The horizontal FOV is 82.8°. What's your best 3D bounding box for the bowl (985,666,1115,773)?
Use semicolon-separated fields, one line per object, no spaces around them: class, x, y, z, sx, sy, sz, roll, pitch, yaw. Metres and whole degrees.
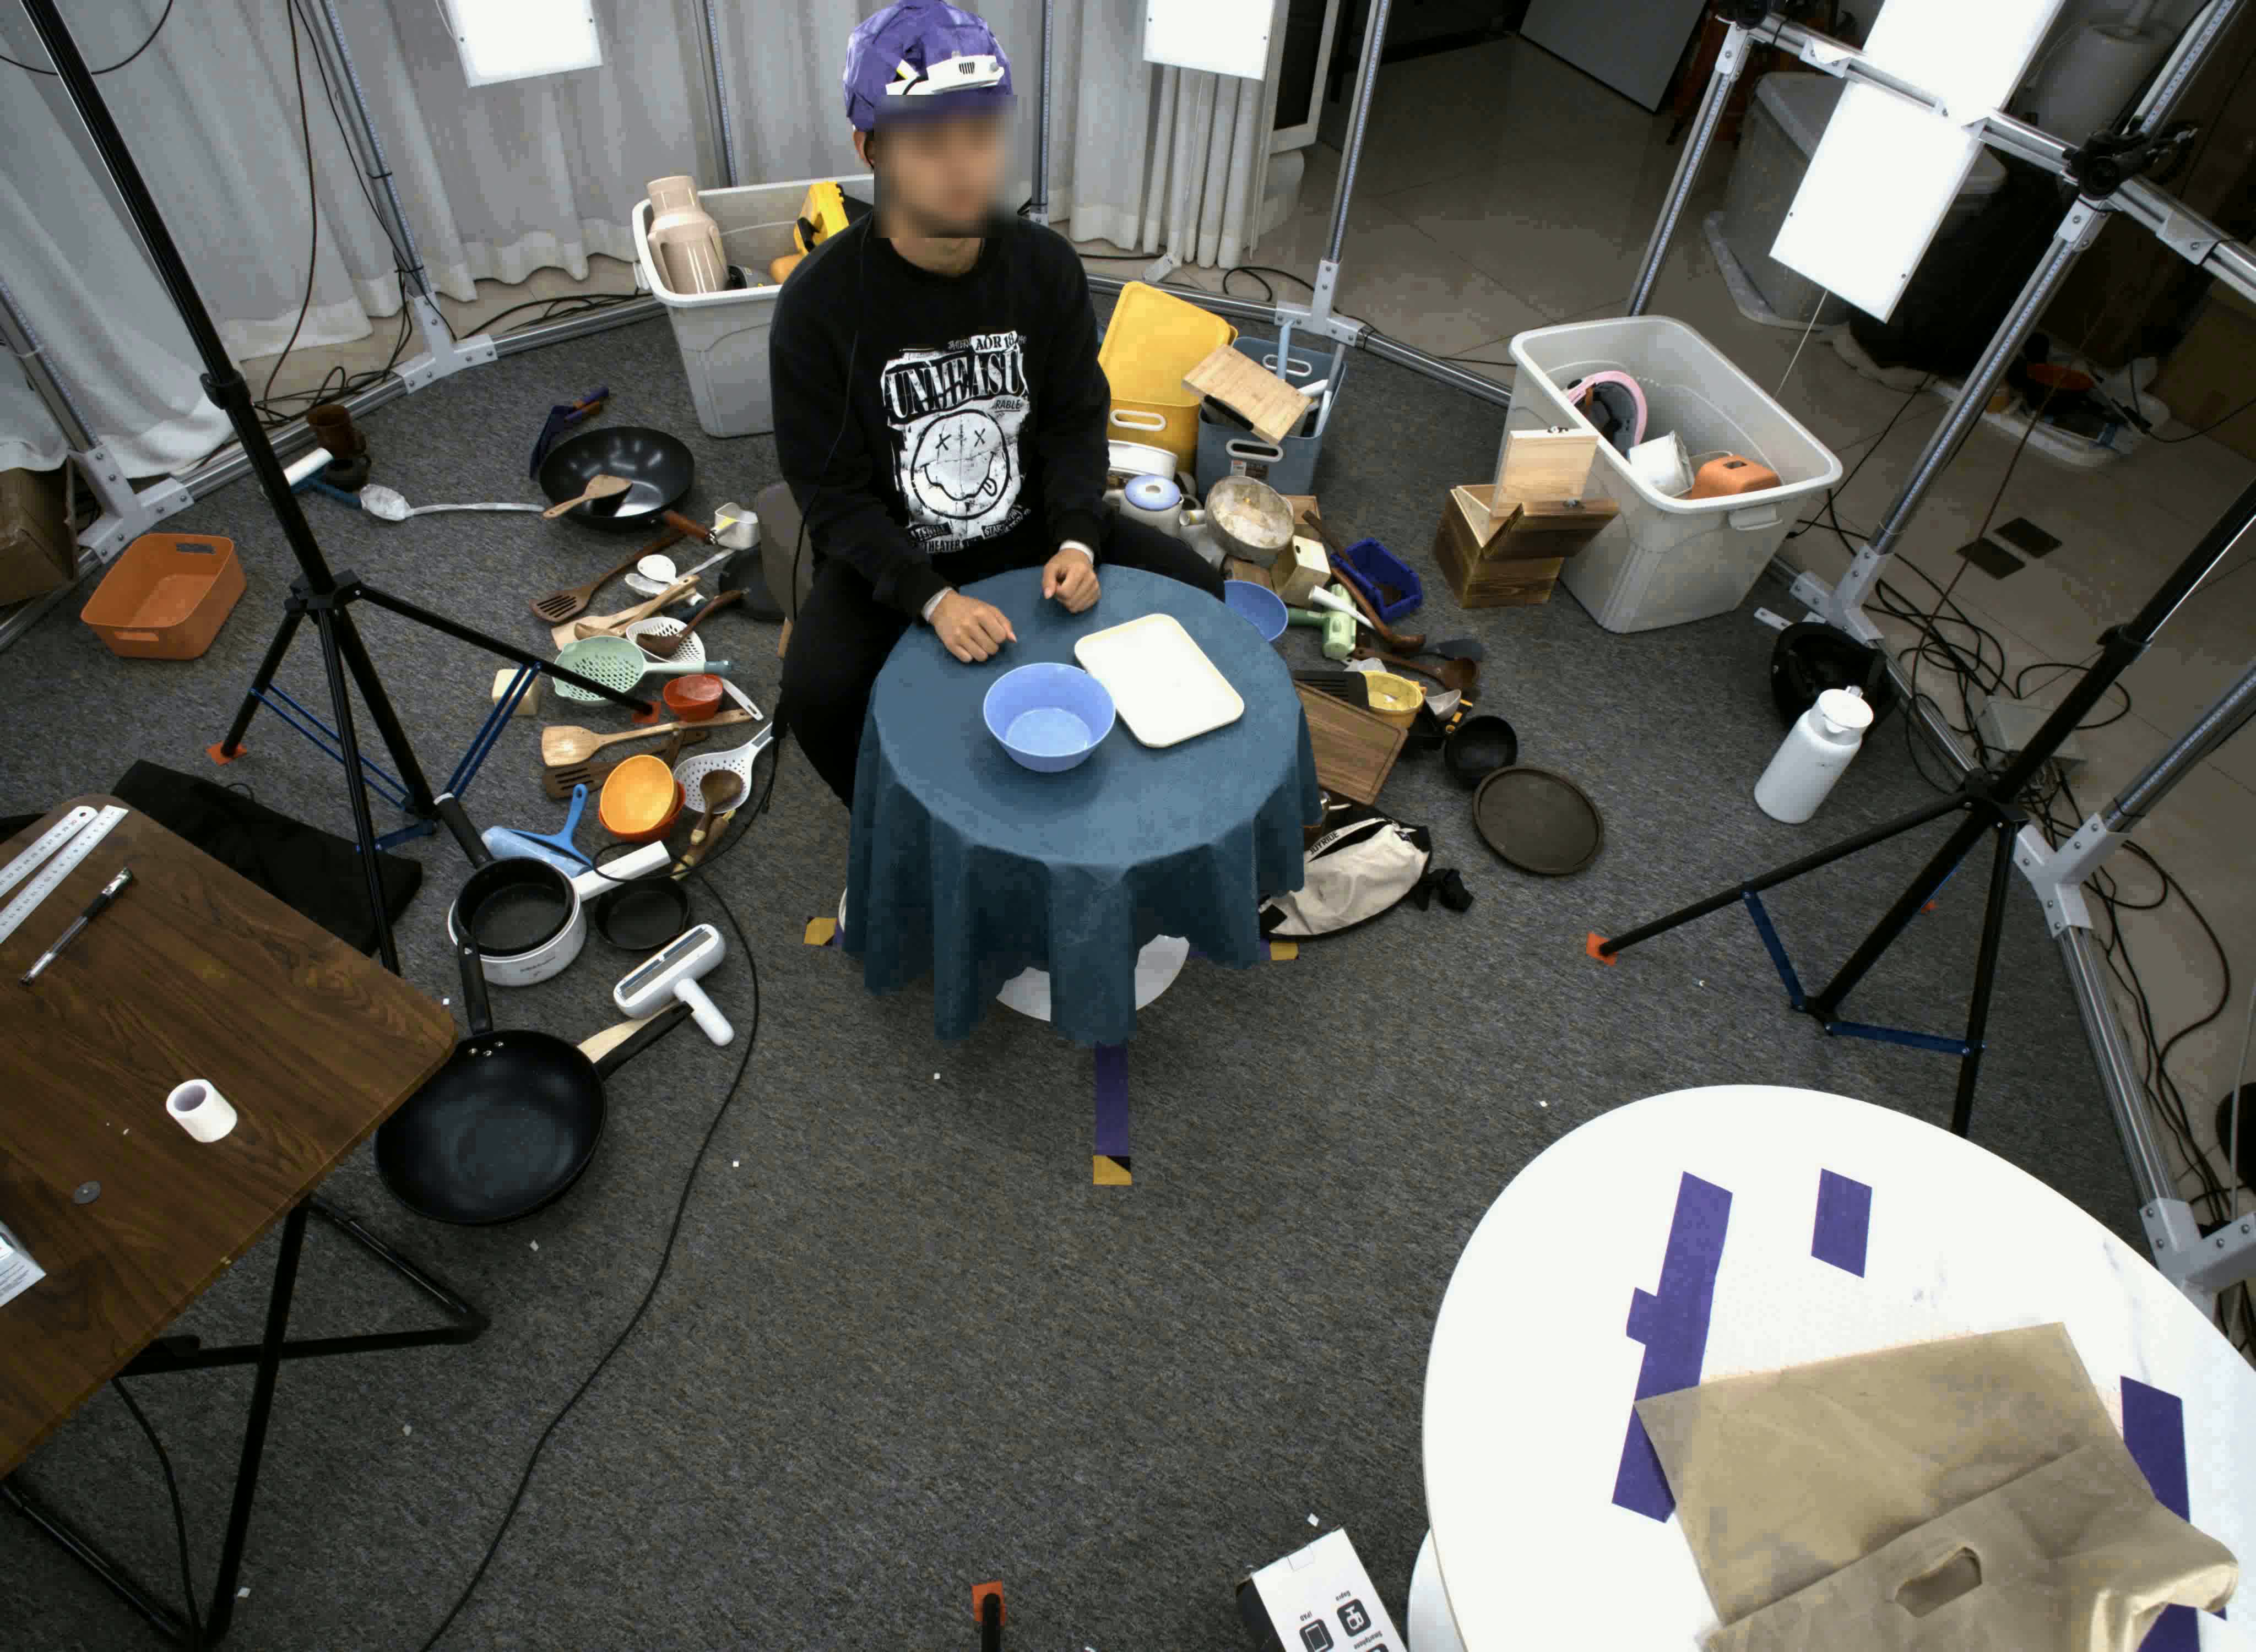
bowl;-0.107;-0.136;1.749;0.176;0.068;0.180;2;48;-3

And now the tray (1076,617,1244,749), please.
tray;0.044;-0.209;1.858;0.171;0.017;0.245;-20;53;-21
